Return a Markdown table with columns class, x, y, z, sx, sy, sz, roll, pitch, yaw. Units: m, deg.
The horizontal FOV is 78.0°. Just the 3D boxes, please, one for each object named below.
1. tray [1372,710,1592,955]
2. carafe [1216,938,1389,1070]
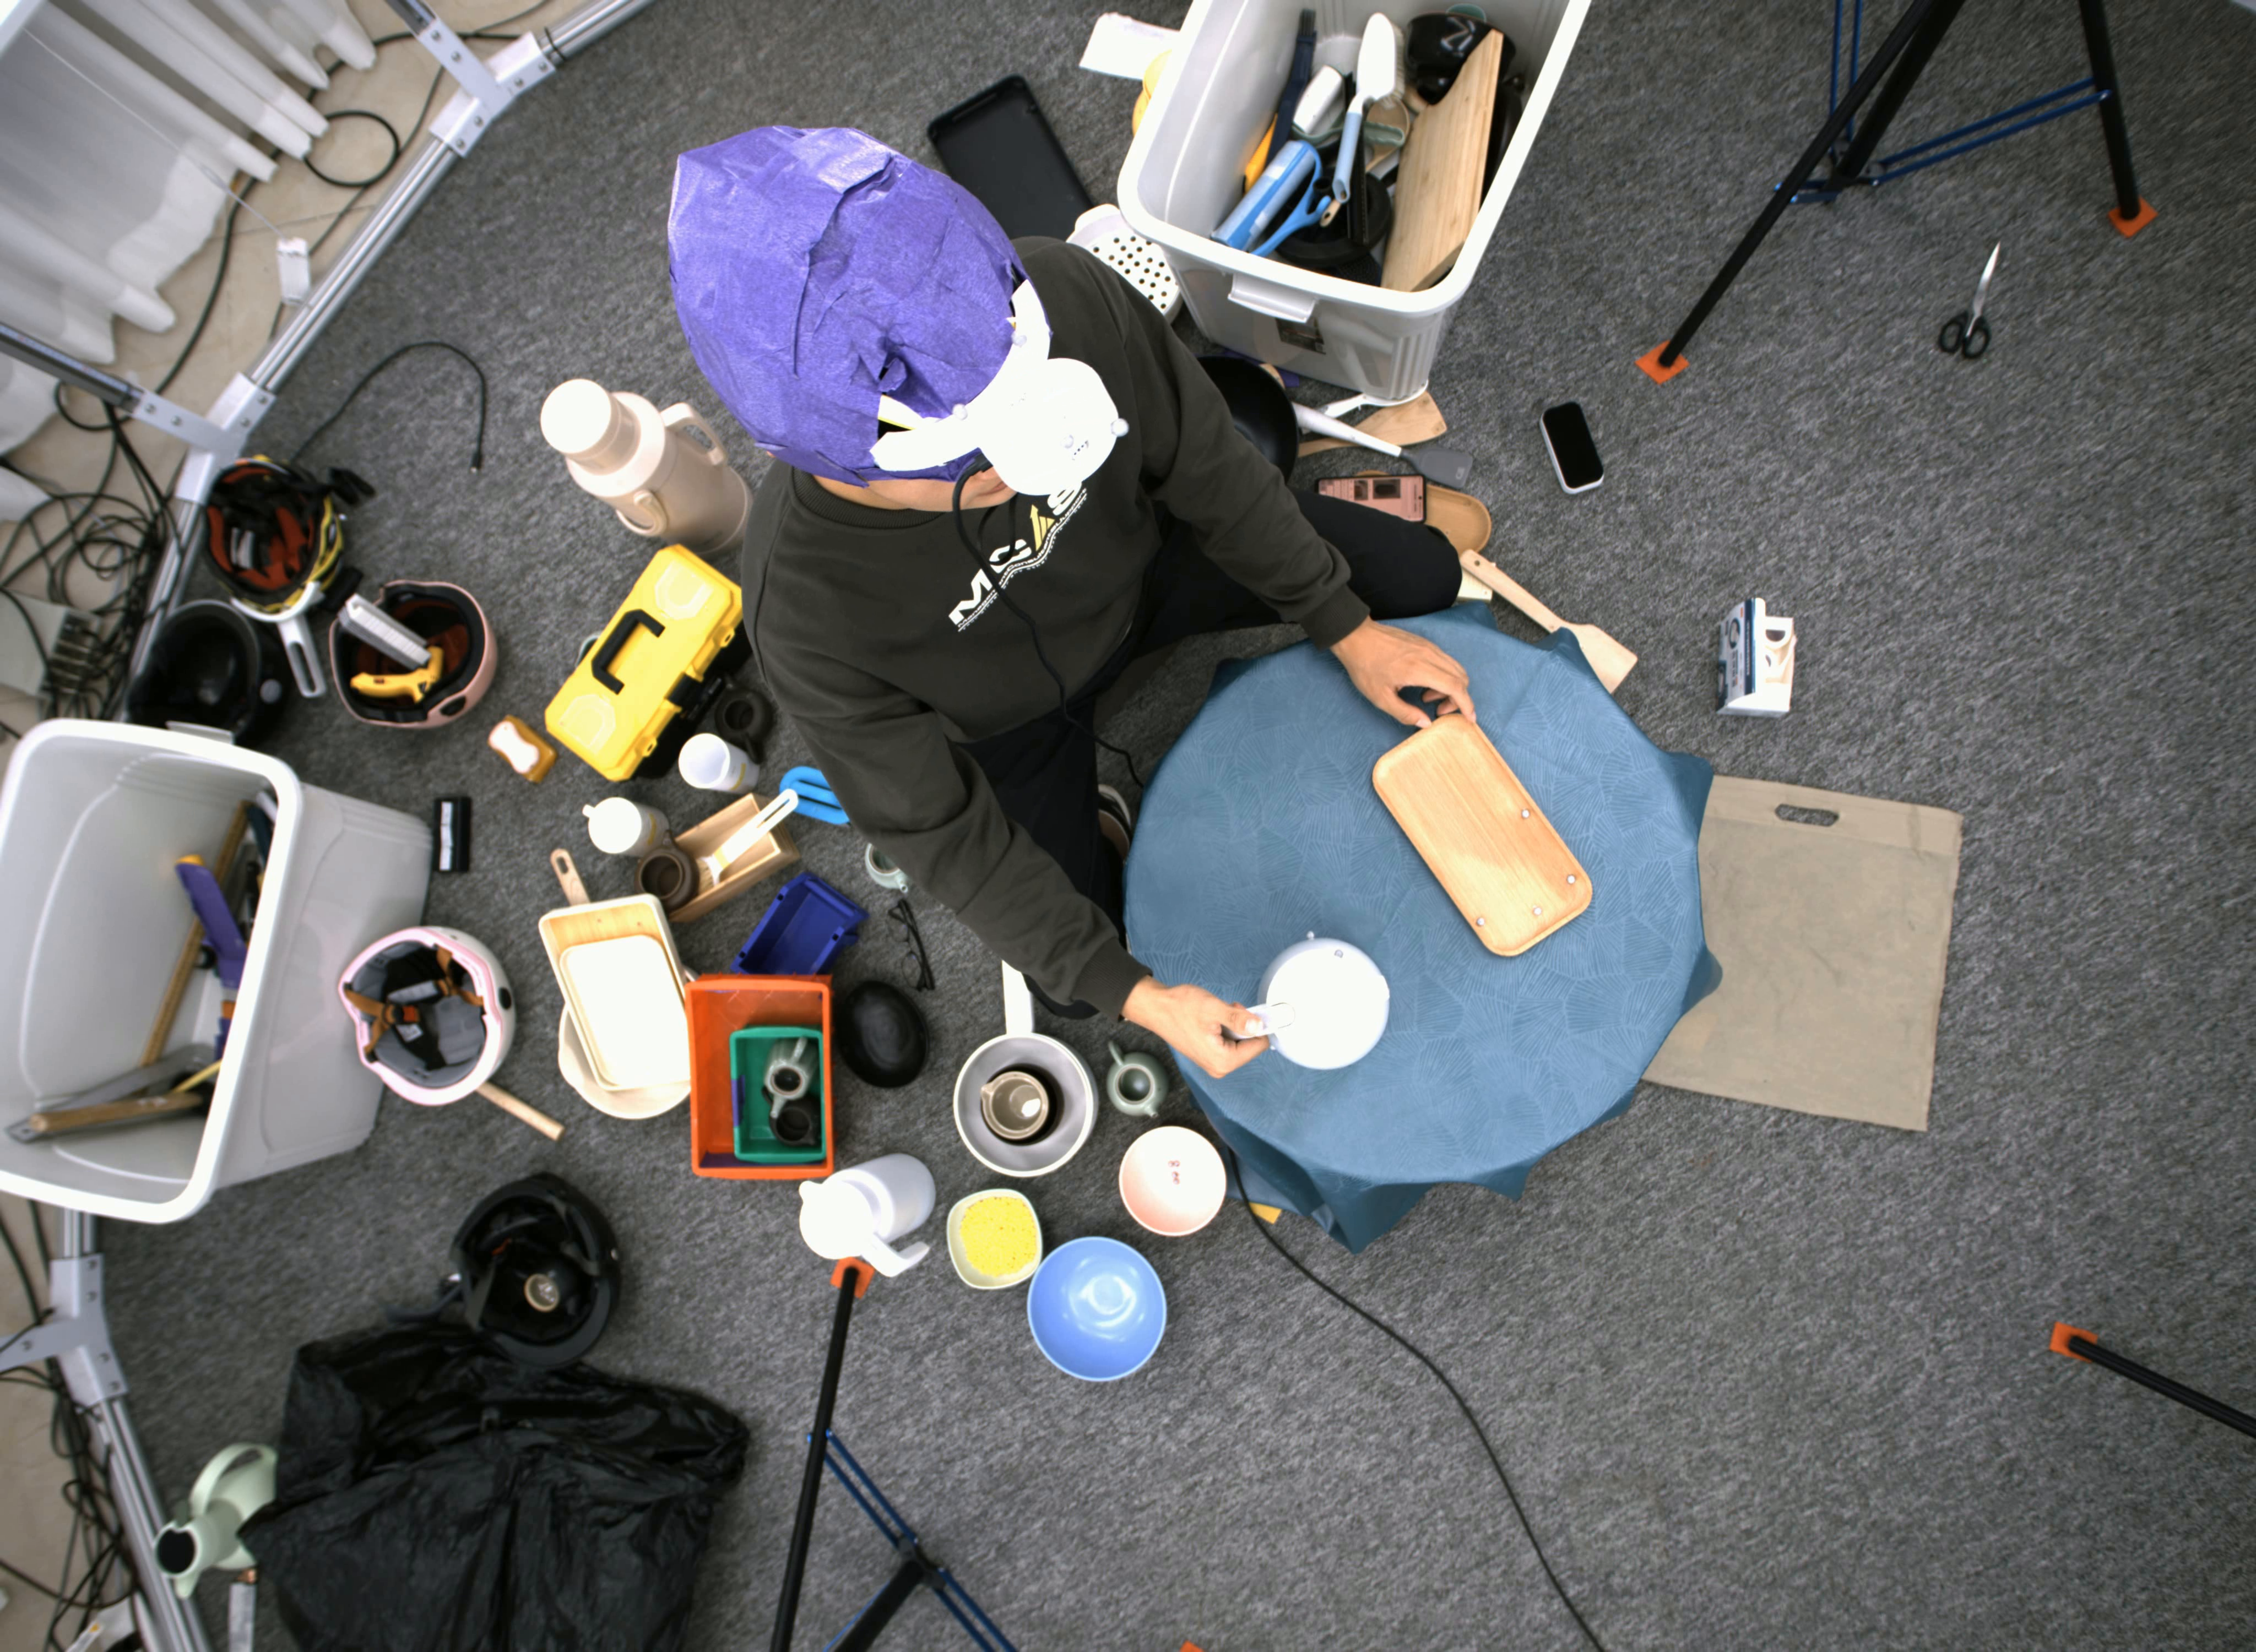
| class | x | y | z | sx | sy | sz | roll | pitch | yaw |
| --- | --- | --- | --- | --- | --- | --- | --- | --- | --- |
| tray | 0.368 | 0.004 | 1.437 | 0.131 | 0.023 | 0.249 | -33 | 80 | 5 |
| carafe | 0.170 | 0.179 | 1.345 | 0.168 | 0.249 | 0.131 | -18 | 82 | 8 |
